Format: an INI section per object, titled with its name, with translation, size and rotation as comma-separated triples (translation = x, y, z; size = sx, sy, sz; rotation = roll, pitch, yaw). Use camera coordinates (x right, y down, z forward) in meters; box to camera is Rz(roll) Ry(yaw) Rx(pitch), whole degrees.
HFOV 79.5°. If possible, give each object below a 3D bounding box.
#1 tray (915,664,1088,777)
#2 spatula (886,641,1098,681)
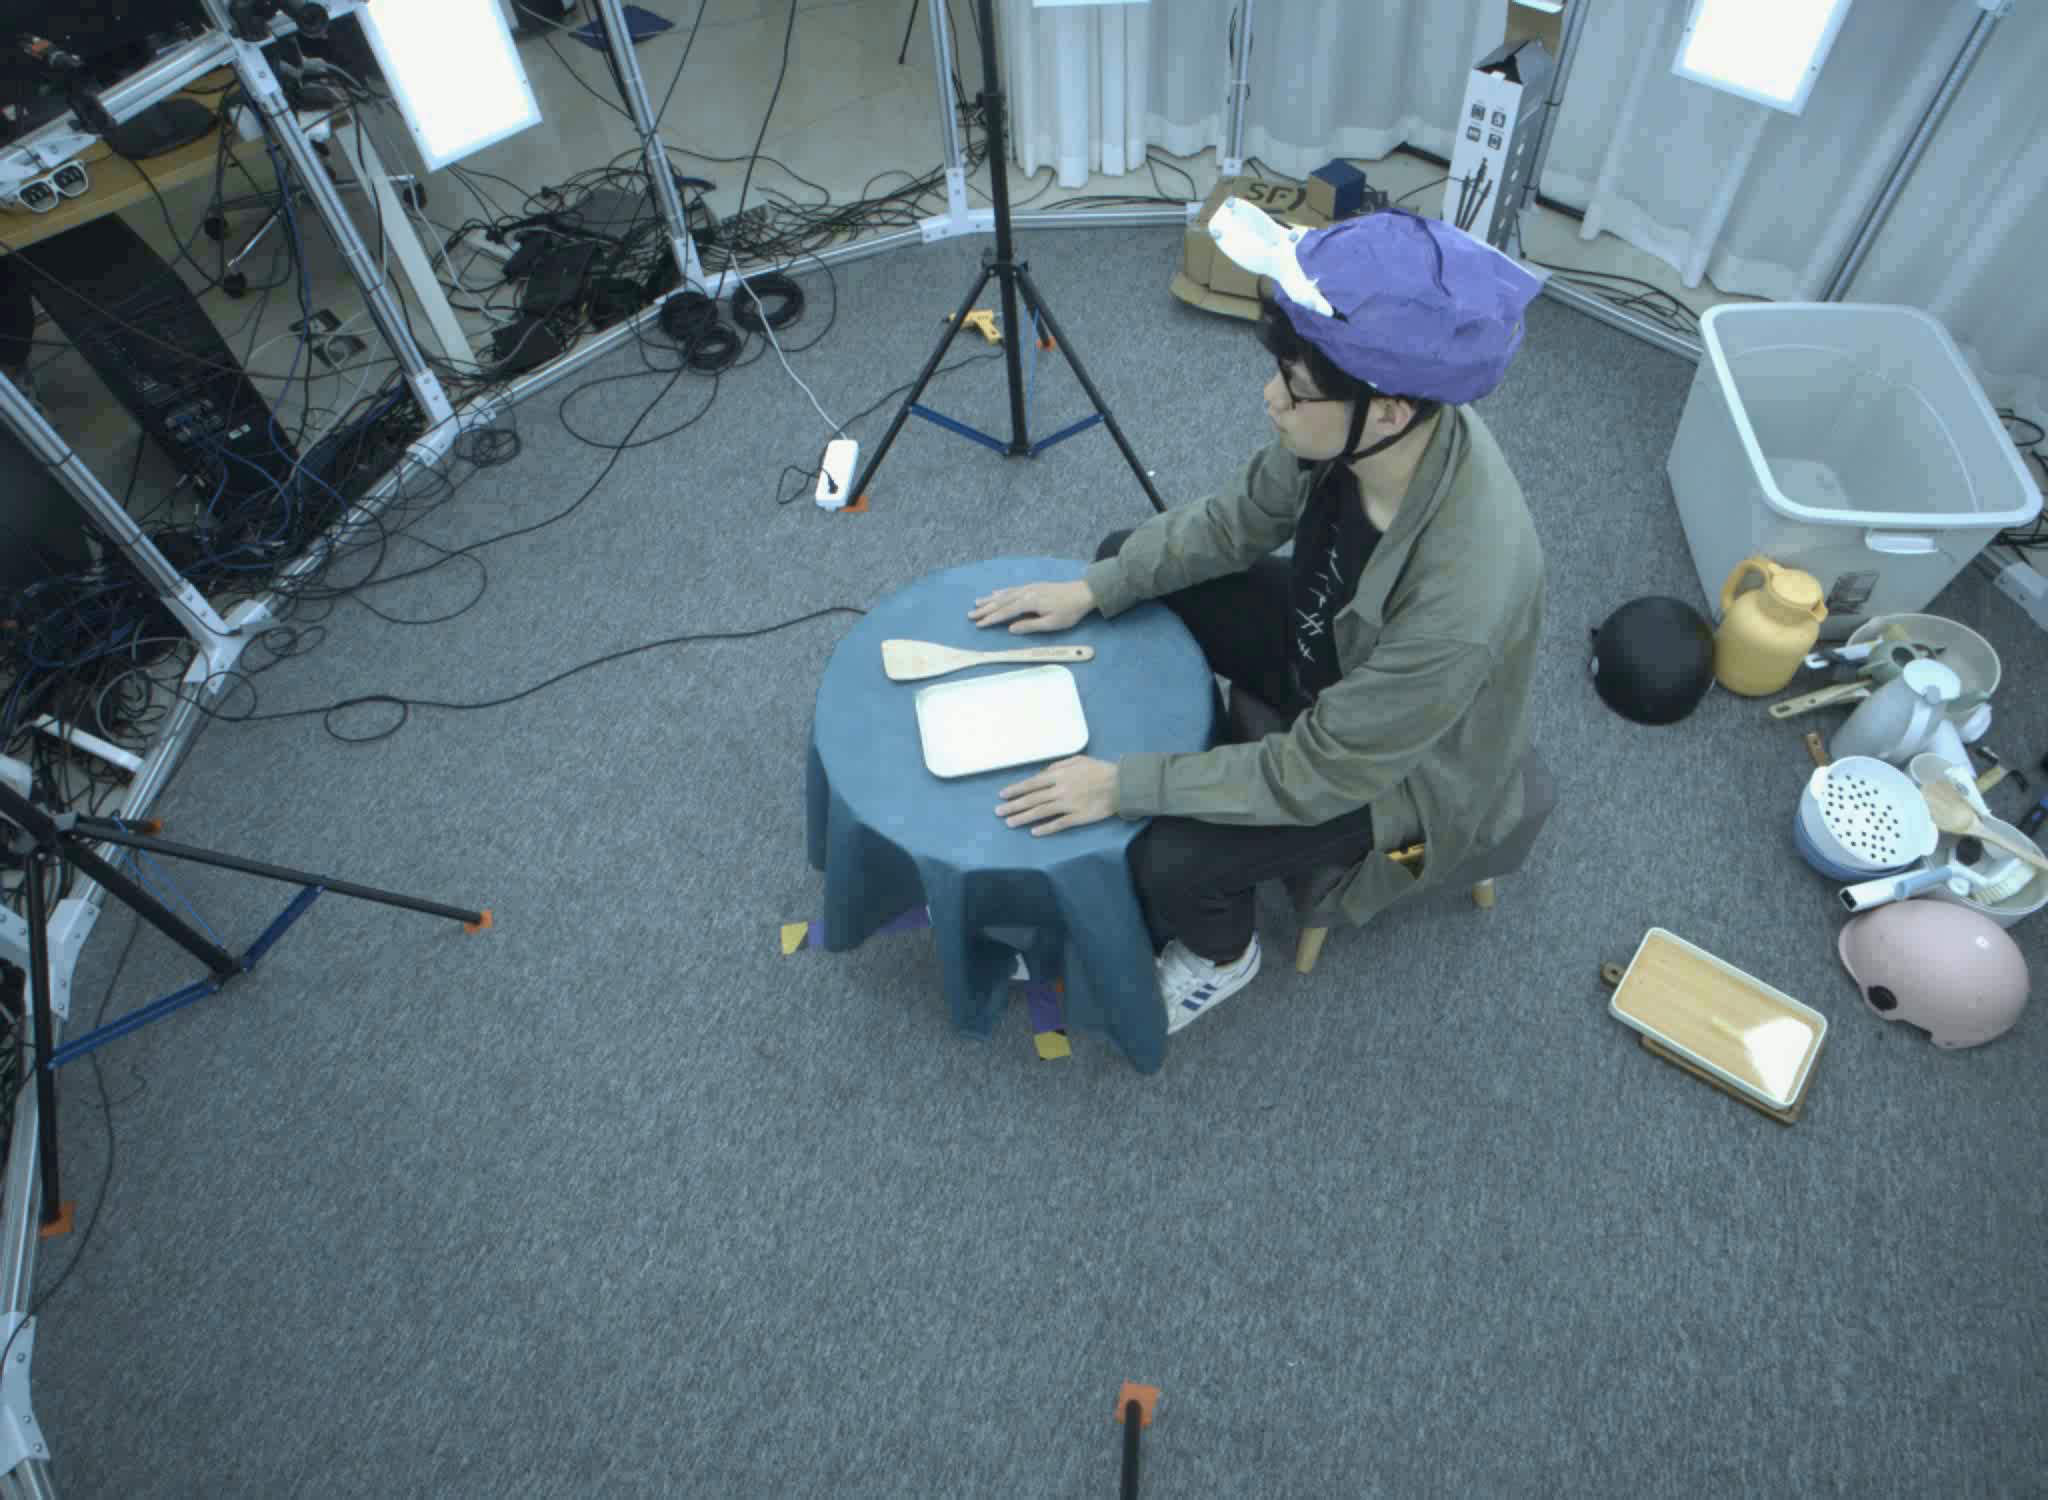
[tray]
translation = -0.035, -0.043, 1.813
size = 0.241, 0.017, 0.169
rotation = -10, 56, -6
[spatula]
translation = -0.050, -0.145, 1.886
size = 0.328, 0.017, 0.079
rotation = -3, 55, 0
